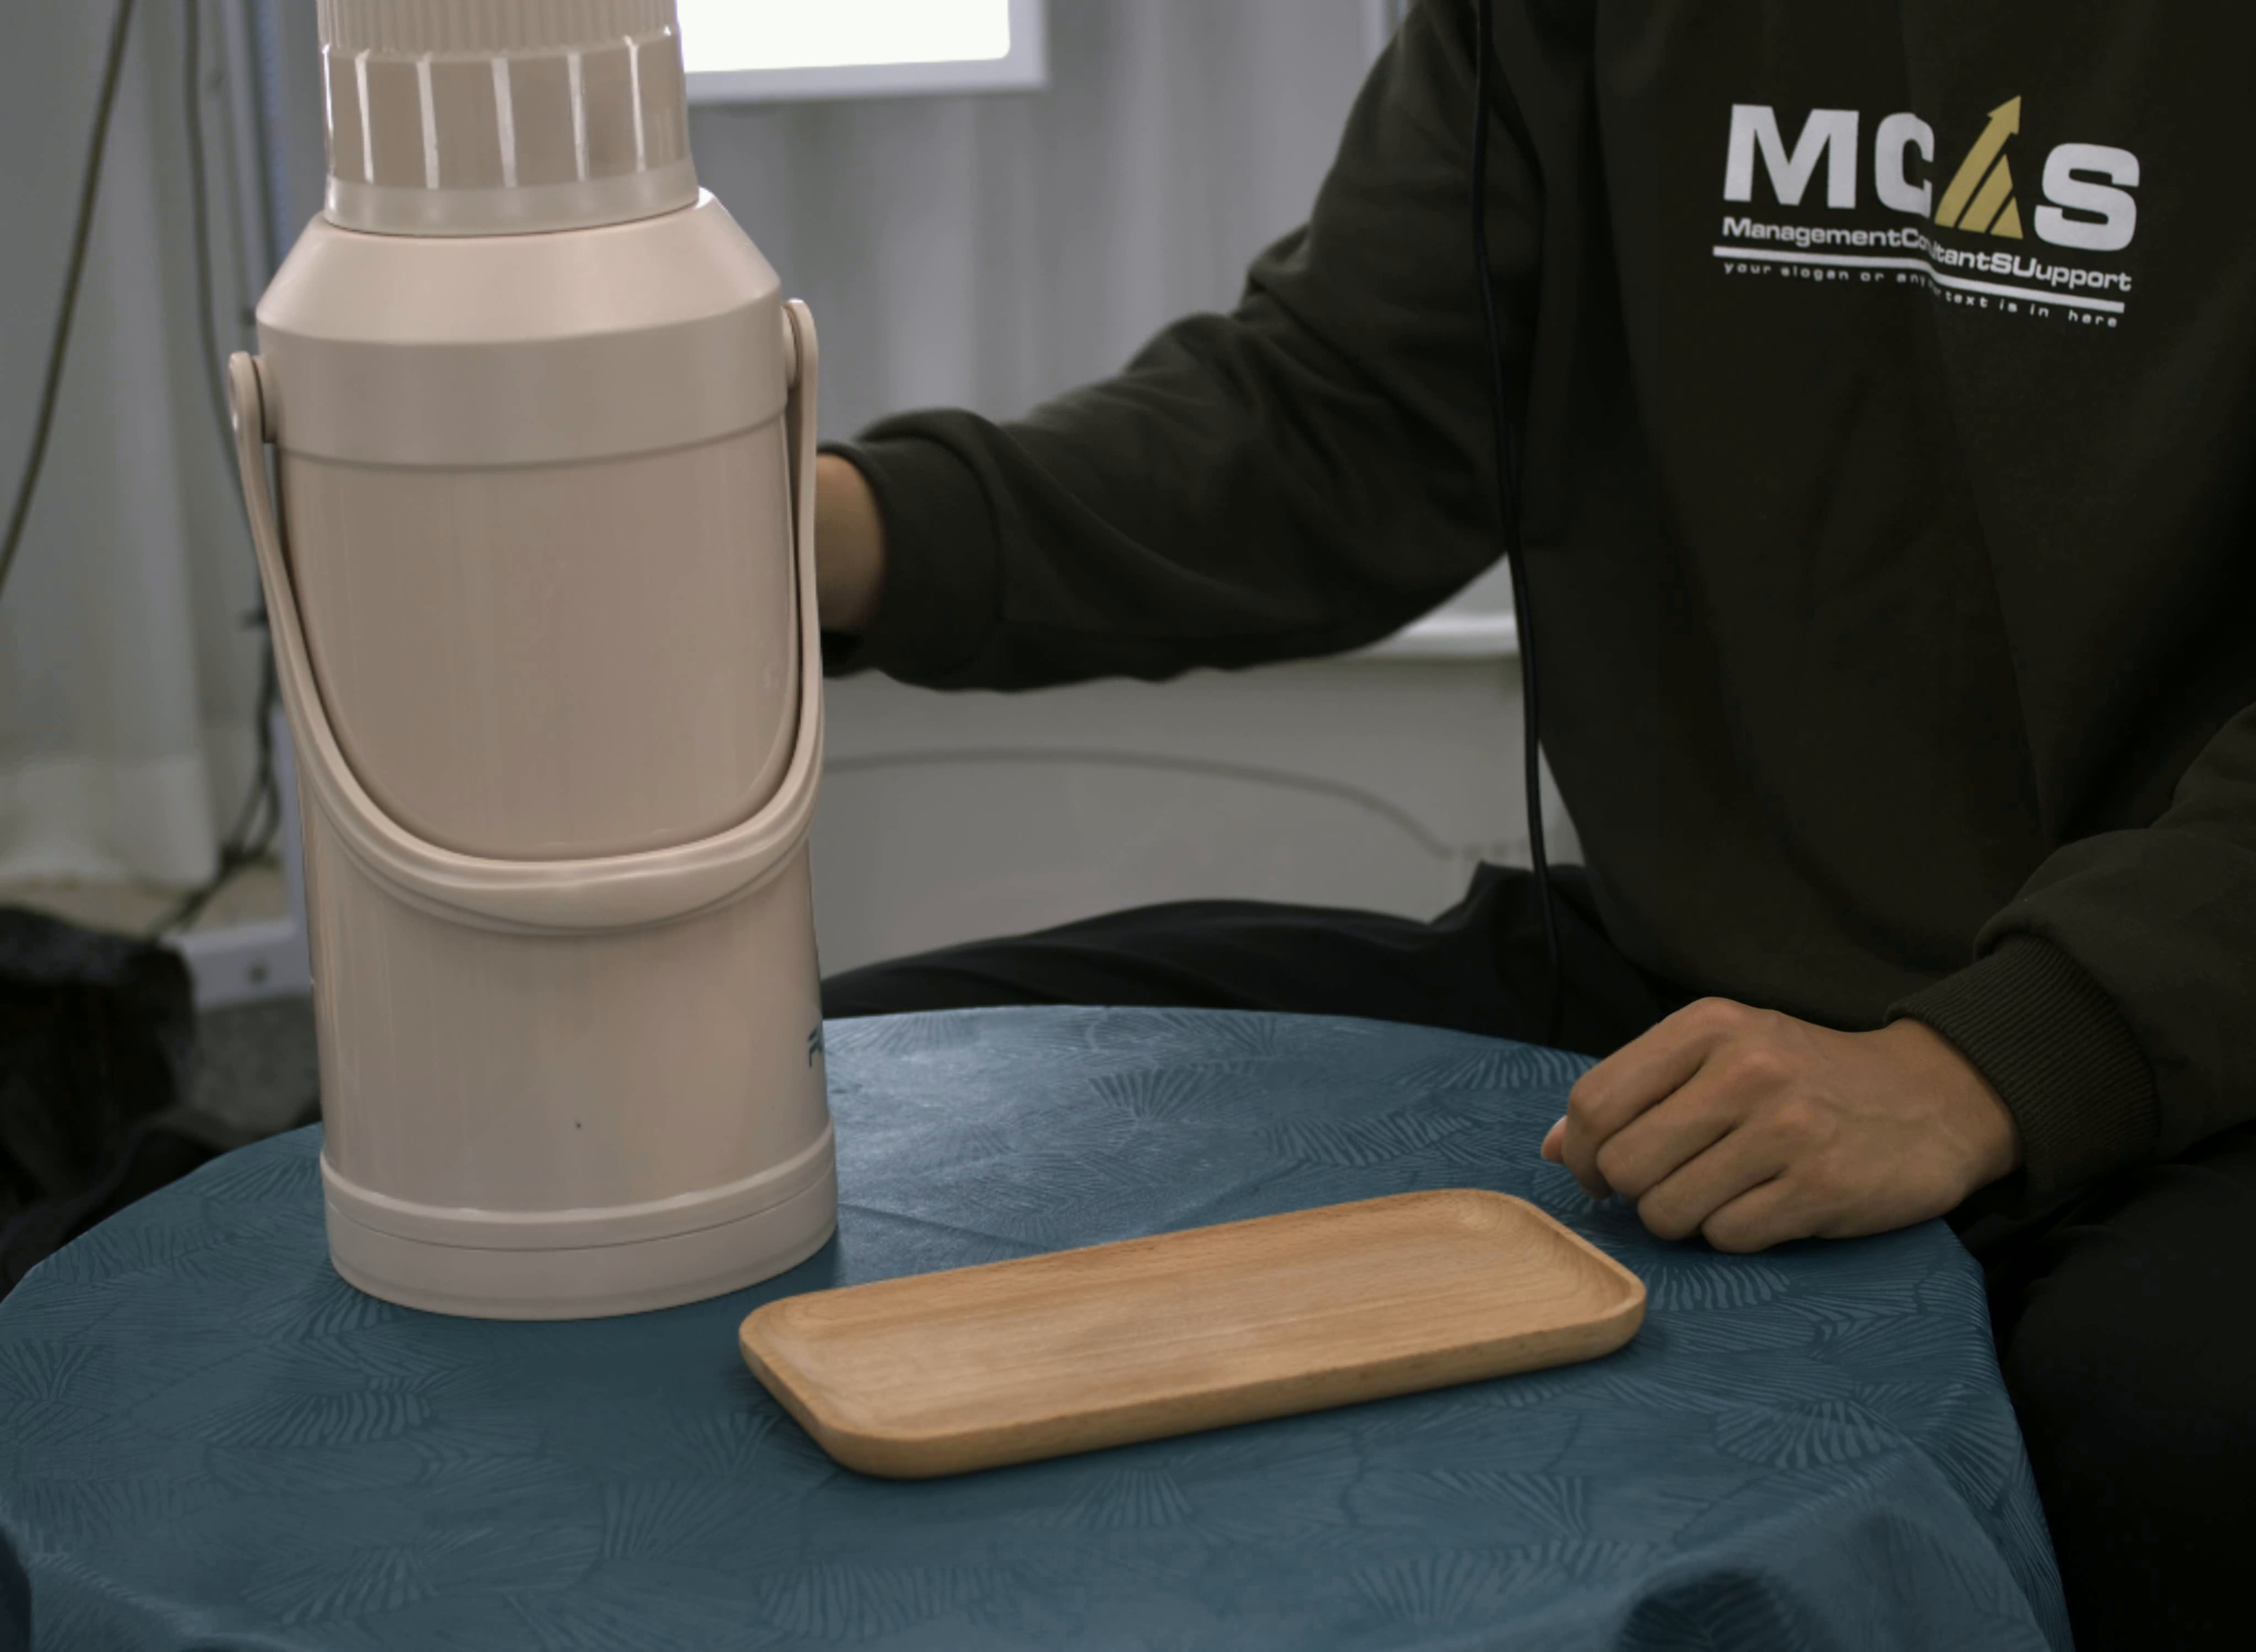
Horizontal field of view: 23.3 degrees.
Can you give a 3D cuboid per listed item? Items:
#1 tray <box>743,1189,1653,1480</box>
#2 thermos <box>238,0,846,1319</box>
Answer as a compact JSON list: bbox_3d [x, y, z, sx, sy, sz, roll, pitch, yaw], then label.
[{"bbox_3d":[0.020,0.145,1.571,0.249,0.023,0.132,-7,18,-19],"label":"tray"},{"bbox_3d":[-0.178,-0.068,1.669,0.174,0.404,0.209,-8,15,-17],"label":"thermos"}]
